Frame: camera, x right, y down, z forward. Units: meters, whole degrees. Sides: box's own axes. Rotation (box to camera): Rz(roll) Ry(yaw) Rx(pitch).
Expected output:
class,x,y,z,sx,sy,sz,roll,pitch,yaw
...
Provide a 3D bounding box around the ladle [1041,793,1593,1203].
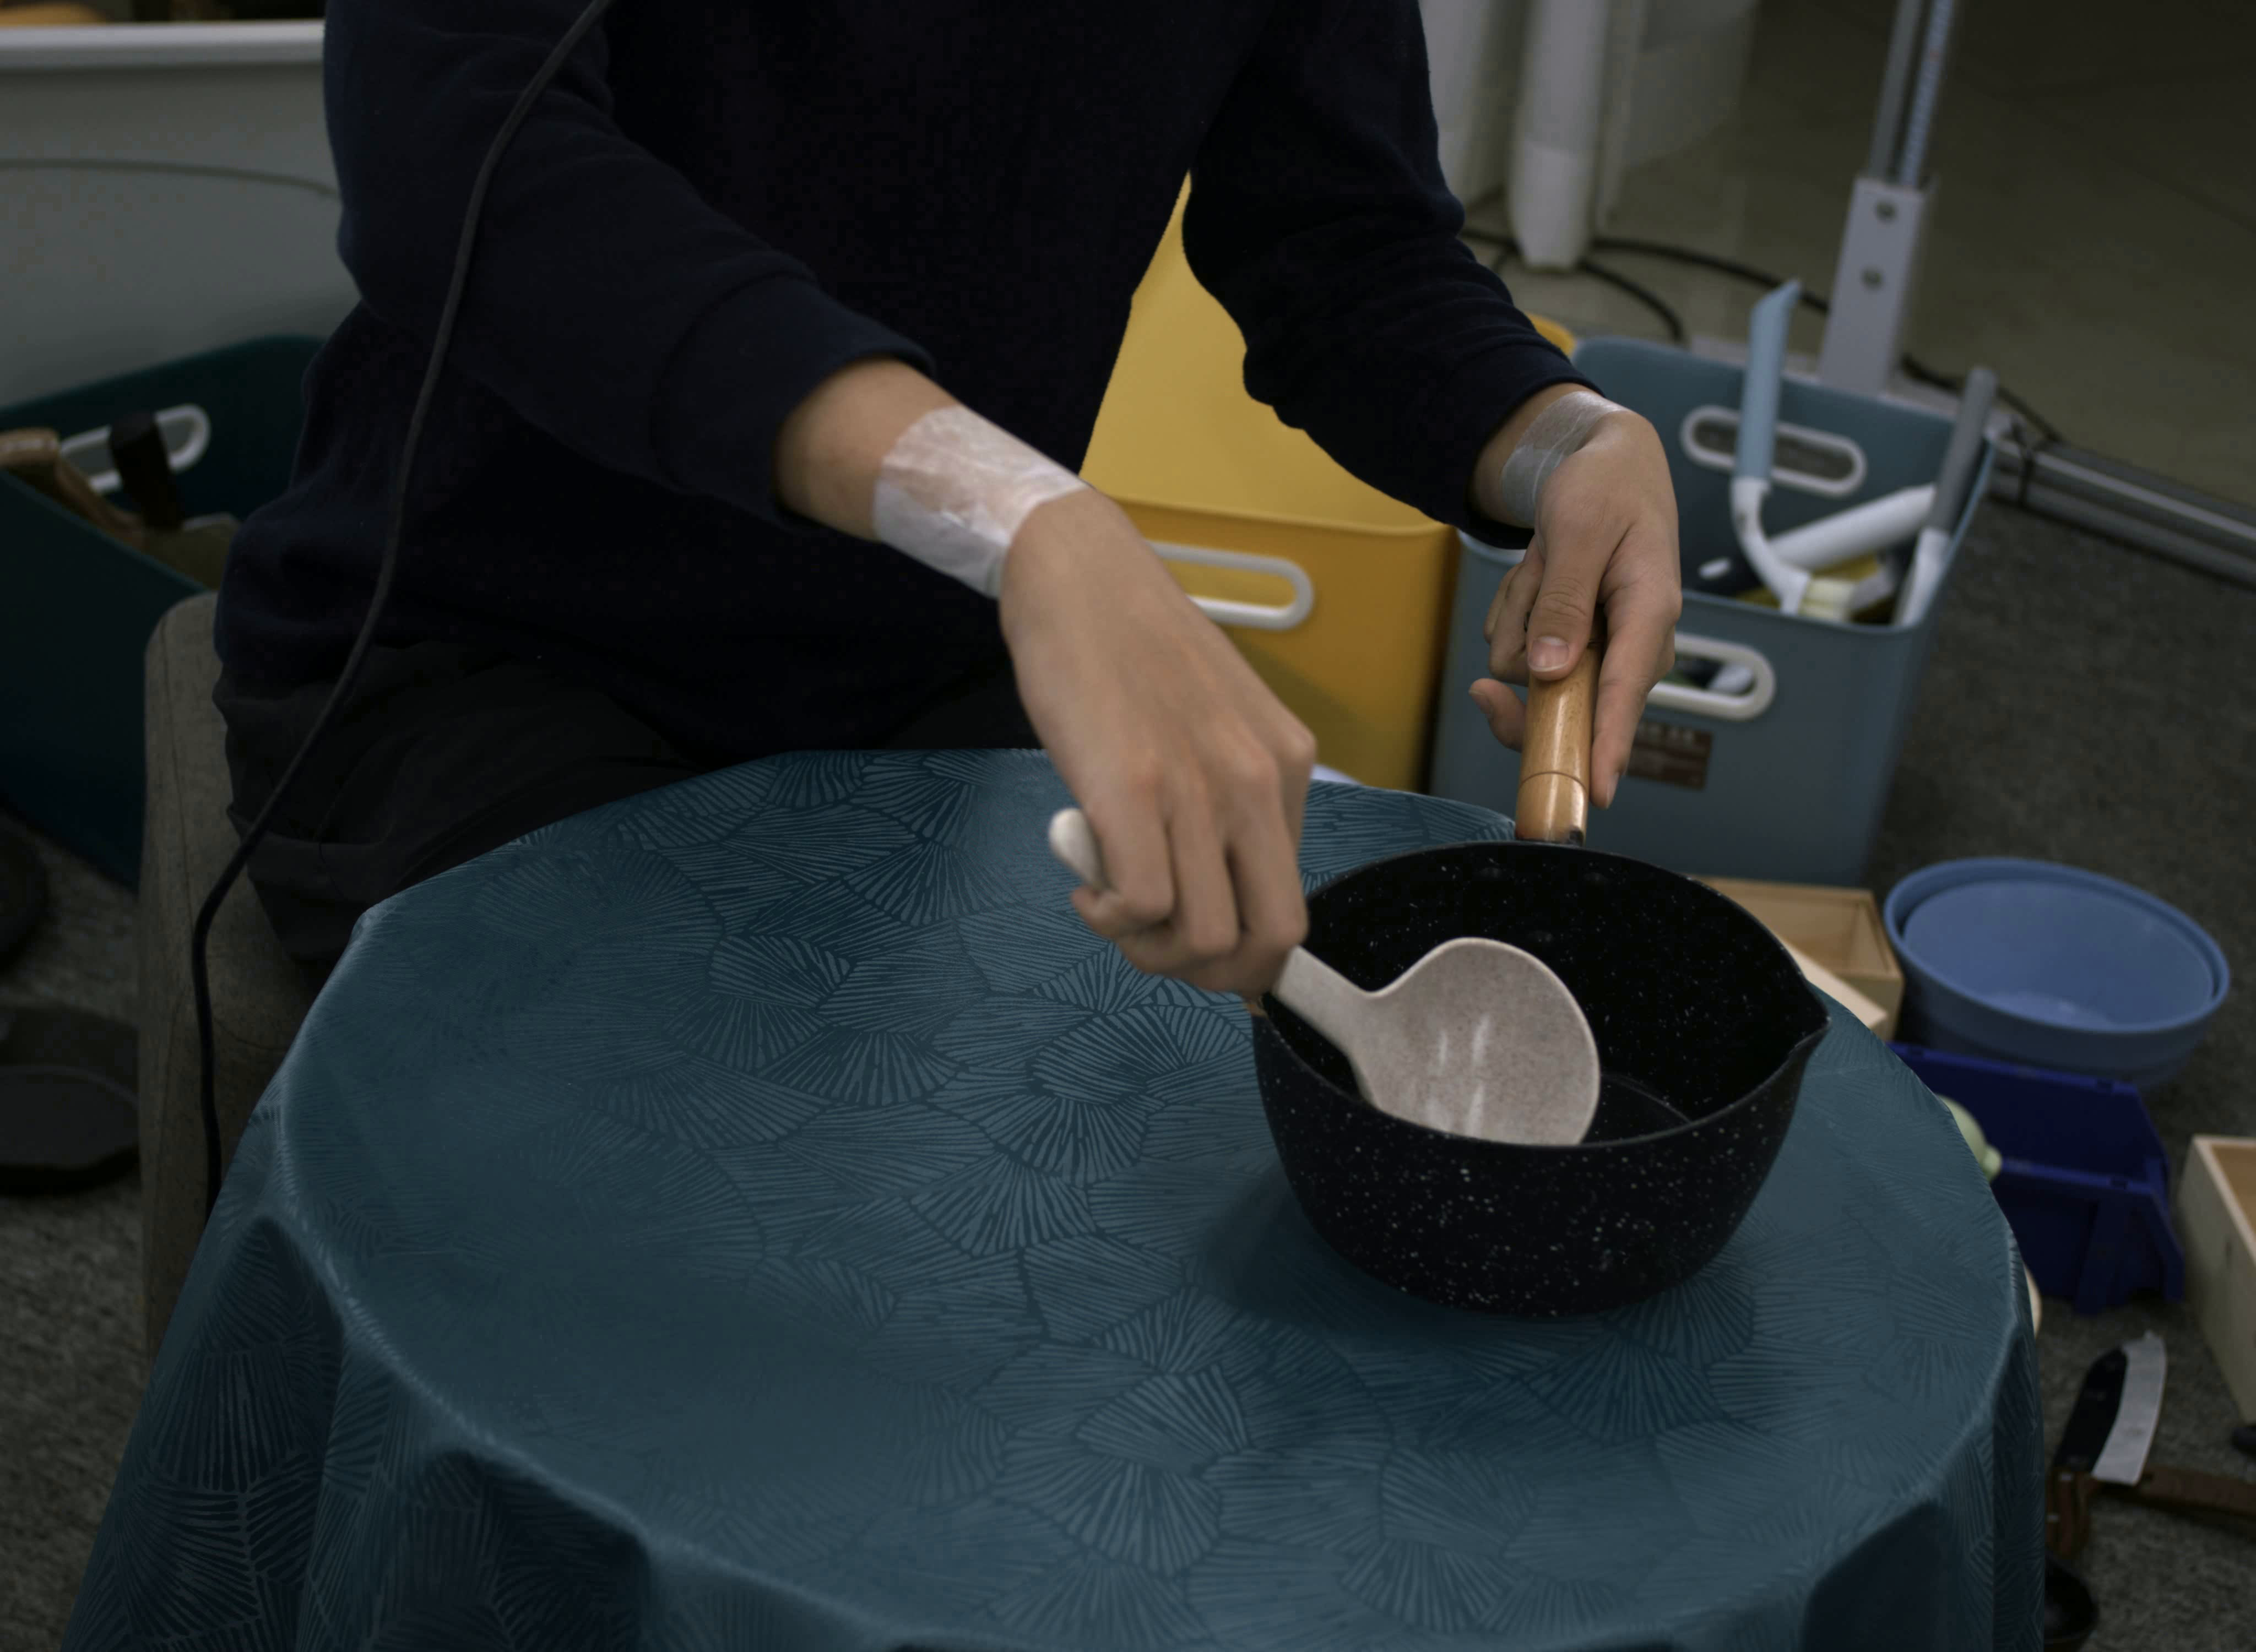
class,x,y,z,sx,sy,sz,roll,pitch,yaw
ladle,0.064,0.044,1.645,0.069,0.090,0.272,6,-17,29

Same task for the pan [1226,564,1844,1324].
class,x,y,z,sx,sy,sz,roll,pitch,yaw
pan,0.142,0.038,1.853,0.207,0.108,0.345,3,33,5
